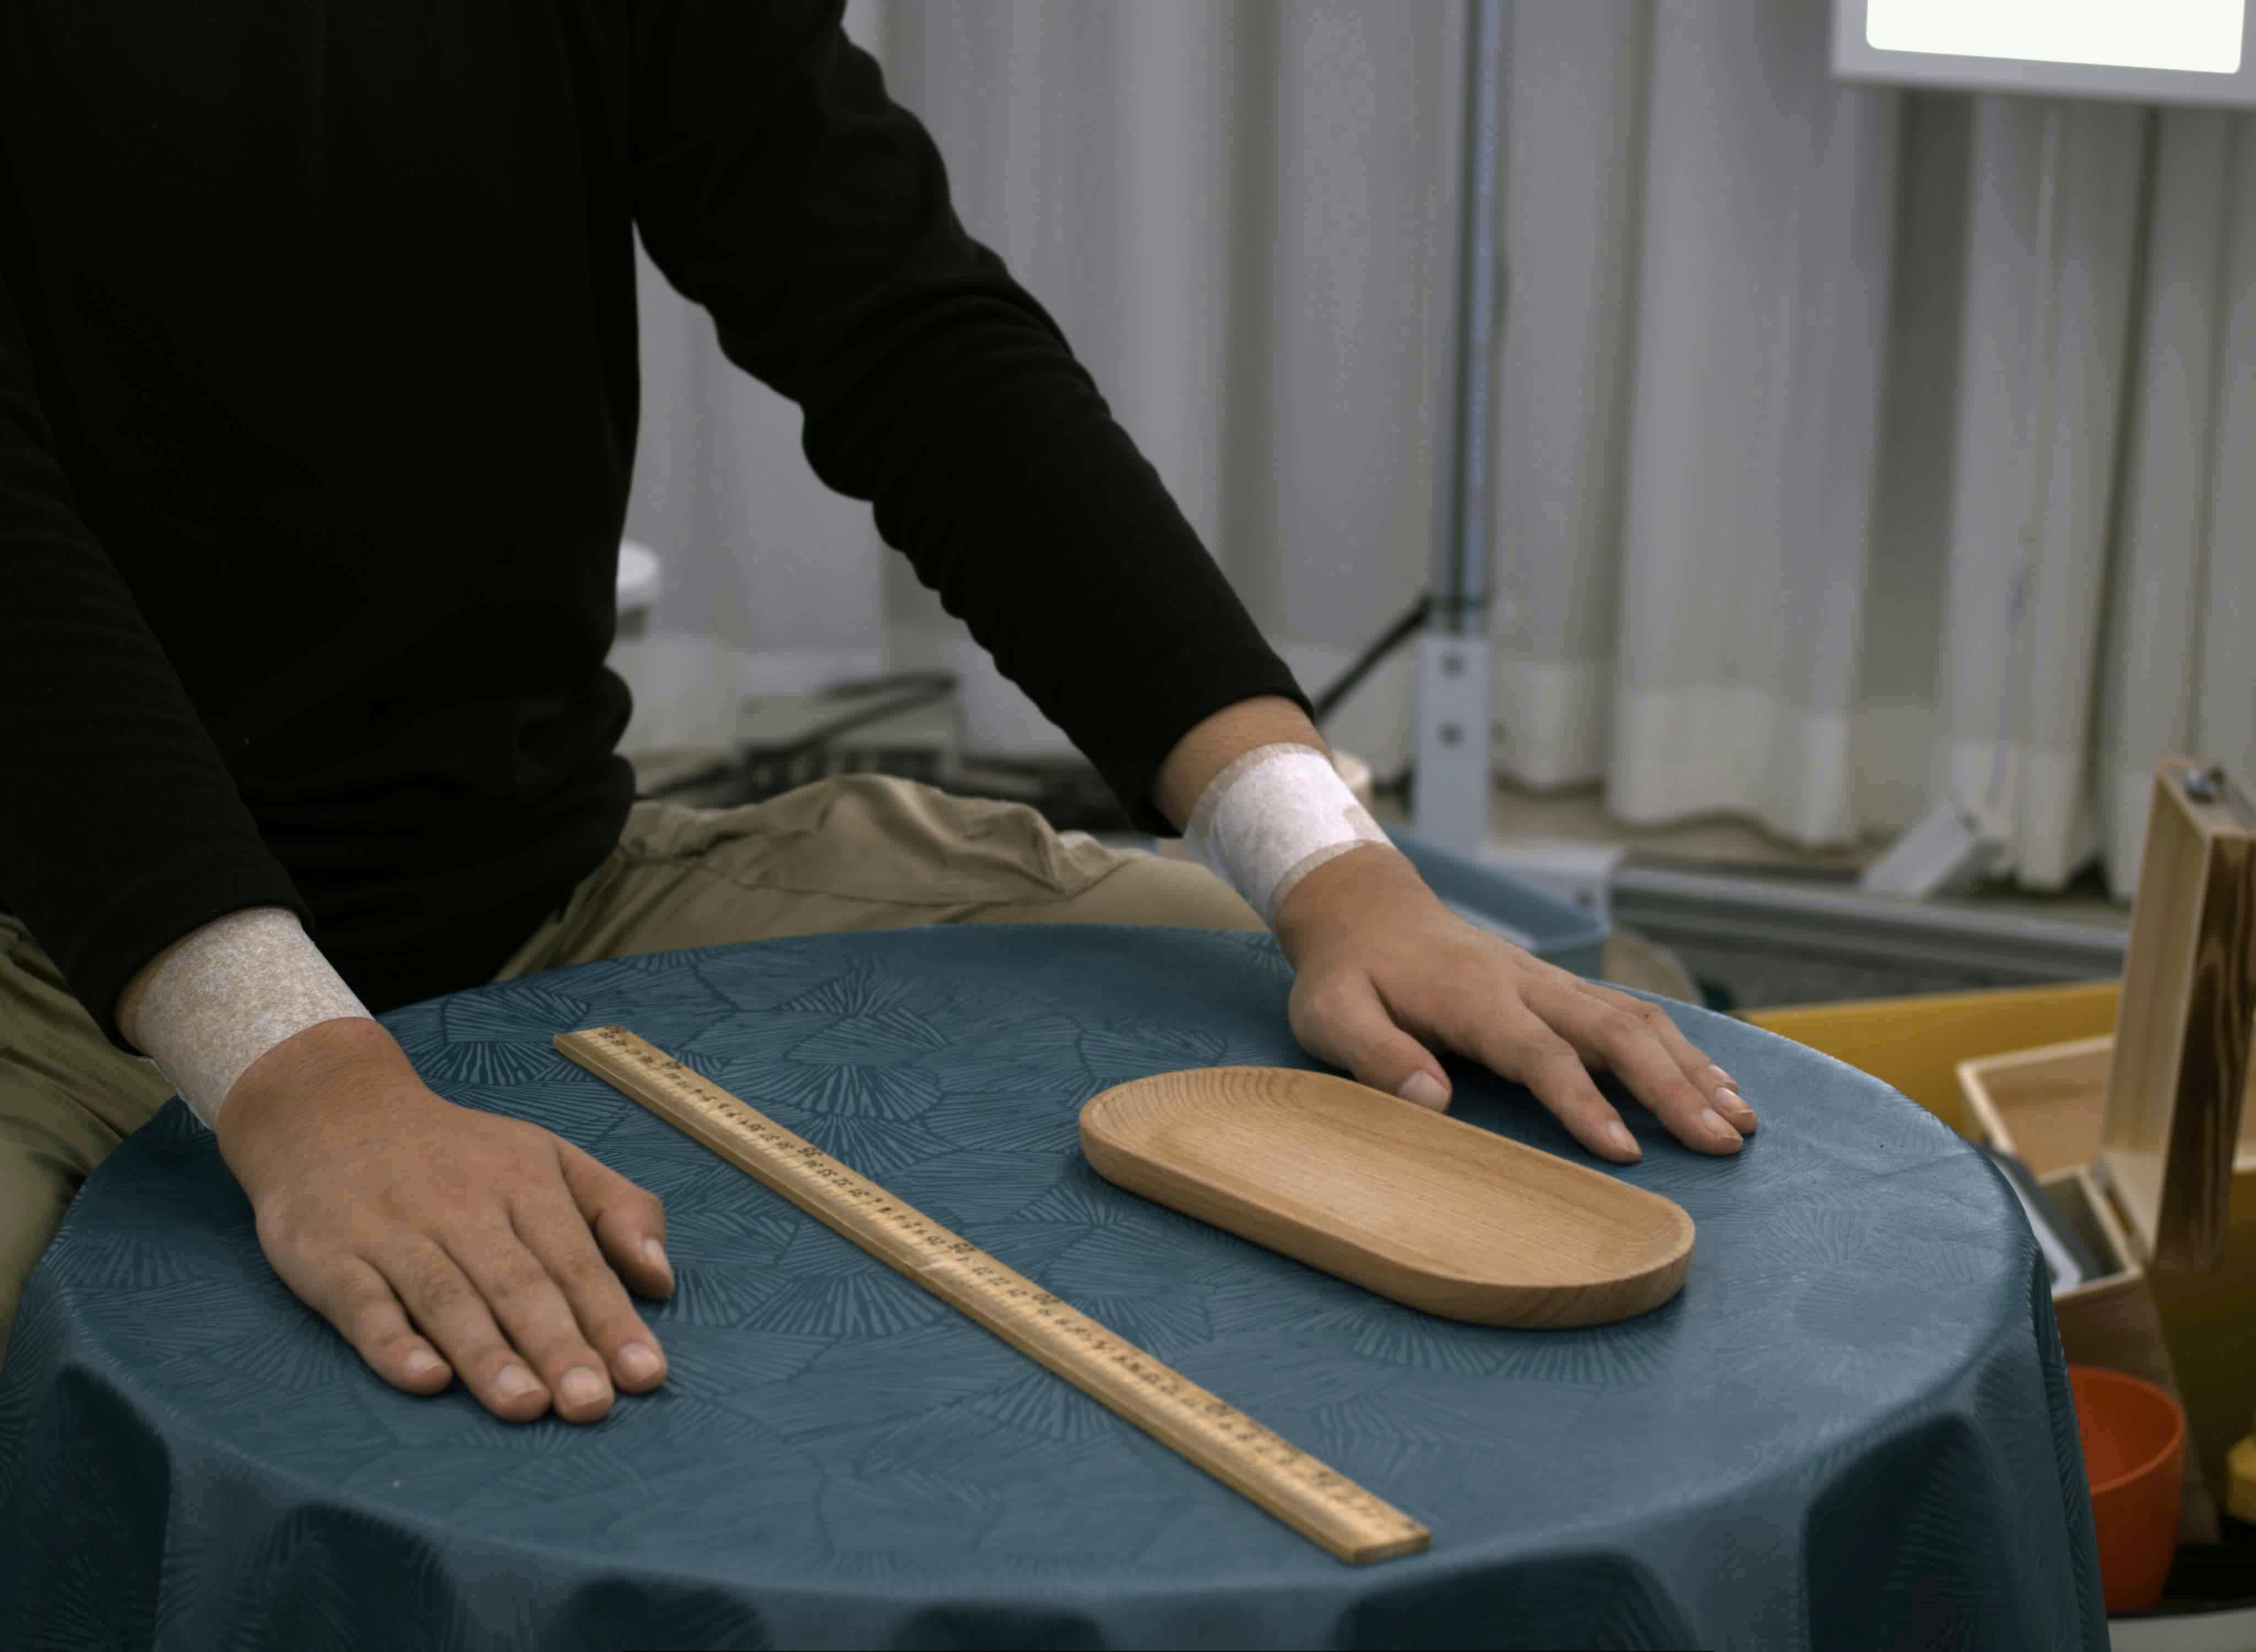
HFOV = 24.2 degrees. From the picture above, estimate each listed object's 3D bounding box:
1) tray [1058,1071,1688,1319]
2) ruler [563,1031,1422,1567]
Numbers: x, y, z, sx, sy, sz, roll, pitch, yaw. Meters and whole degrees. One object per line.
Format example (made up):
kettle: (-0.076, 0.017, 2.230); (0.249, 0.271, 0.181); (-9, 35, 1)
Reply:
tray: (0.072, 0.110, 1.599); (0.102, 0.020, 0.228); (-11, 17, -41)
ruler: (-0.055, 0.128, 1.552); (0.027, 0.006, 0.494); (-6, 16, -29)
